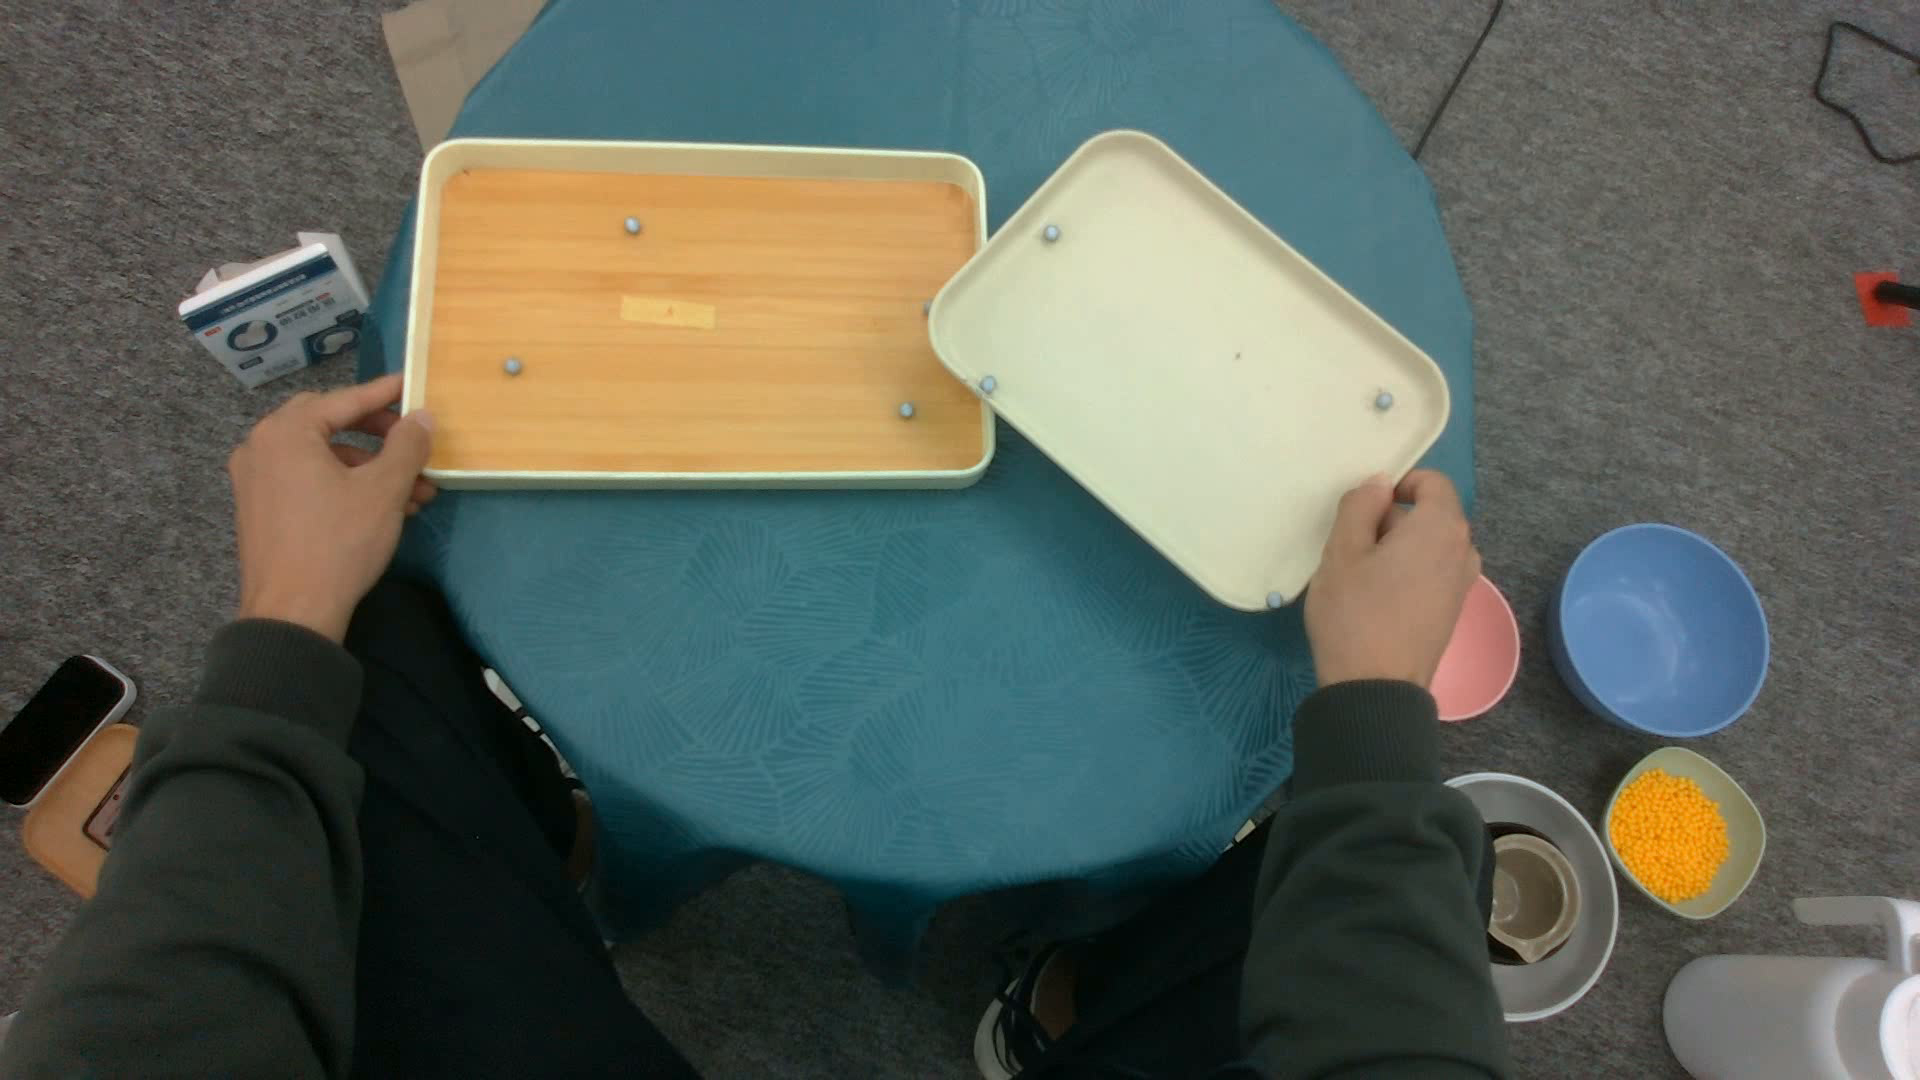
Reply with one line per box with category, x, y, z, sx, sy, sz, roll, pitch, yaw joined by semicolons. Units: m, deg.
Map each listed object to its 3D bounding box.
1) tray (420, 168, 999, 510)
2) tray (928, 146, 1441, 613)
tray;-0.133;-0.112;0.752;0.300;0.027;0.192;-1;74;-5
tray;0.115;-0.087;0.718;0.240;0.017;0.171;40;78;9
